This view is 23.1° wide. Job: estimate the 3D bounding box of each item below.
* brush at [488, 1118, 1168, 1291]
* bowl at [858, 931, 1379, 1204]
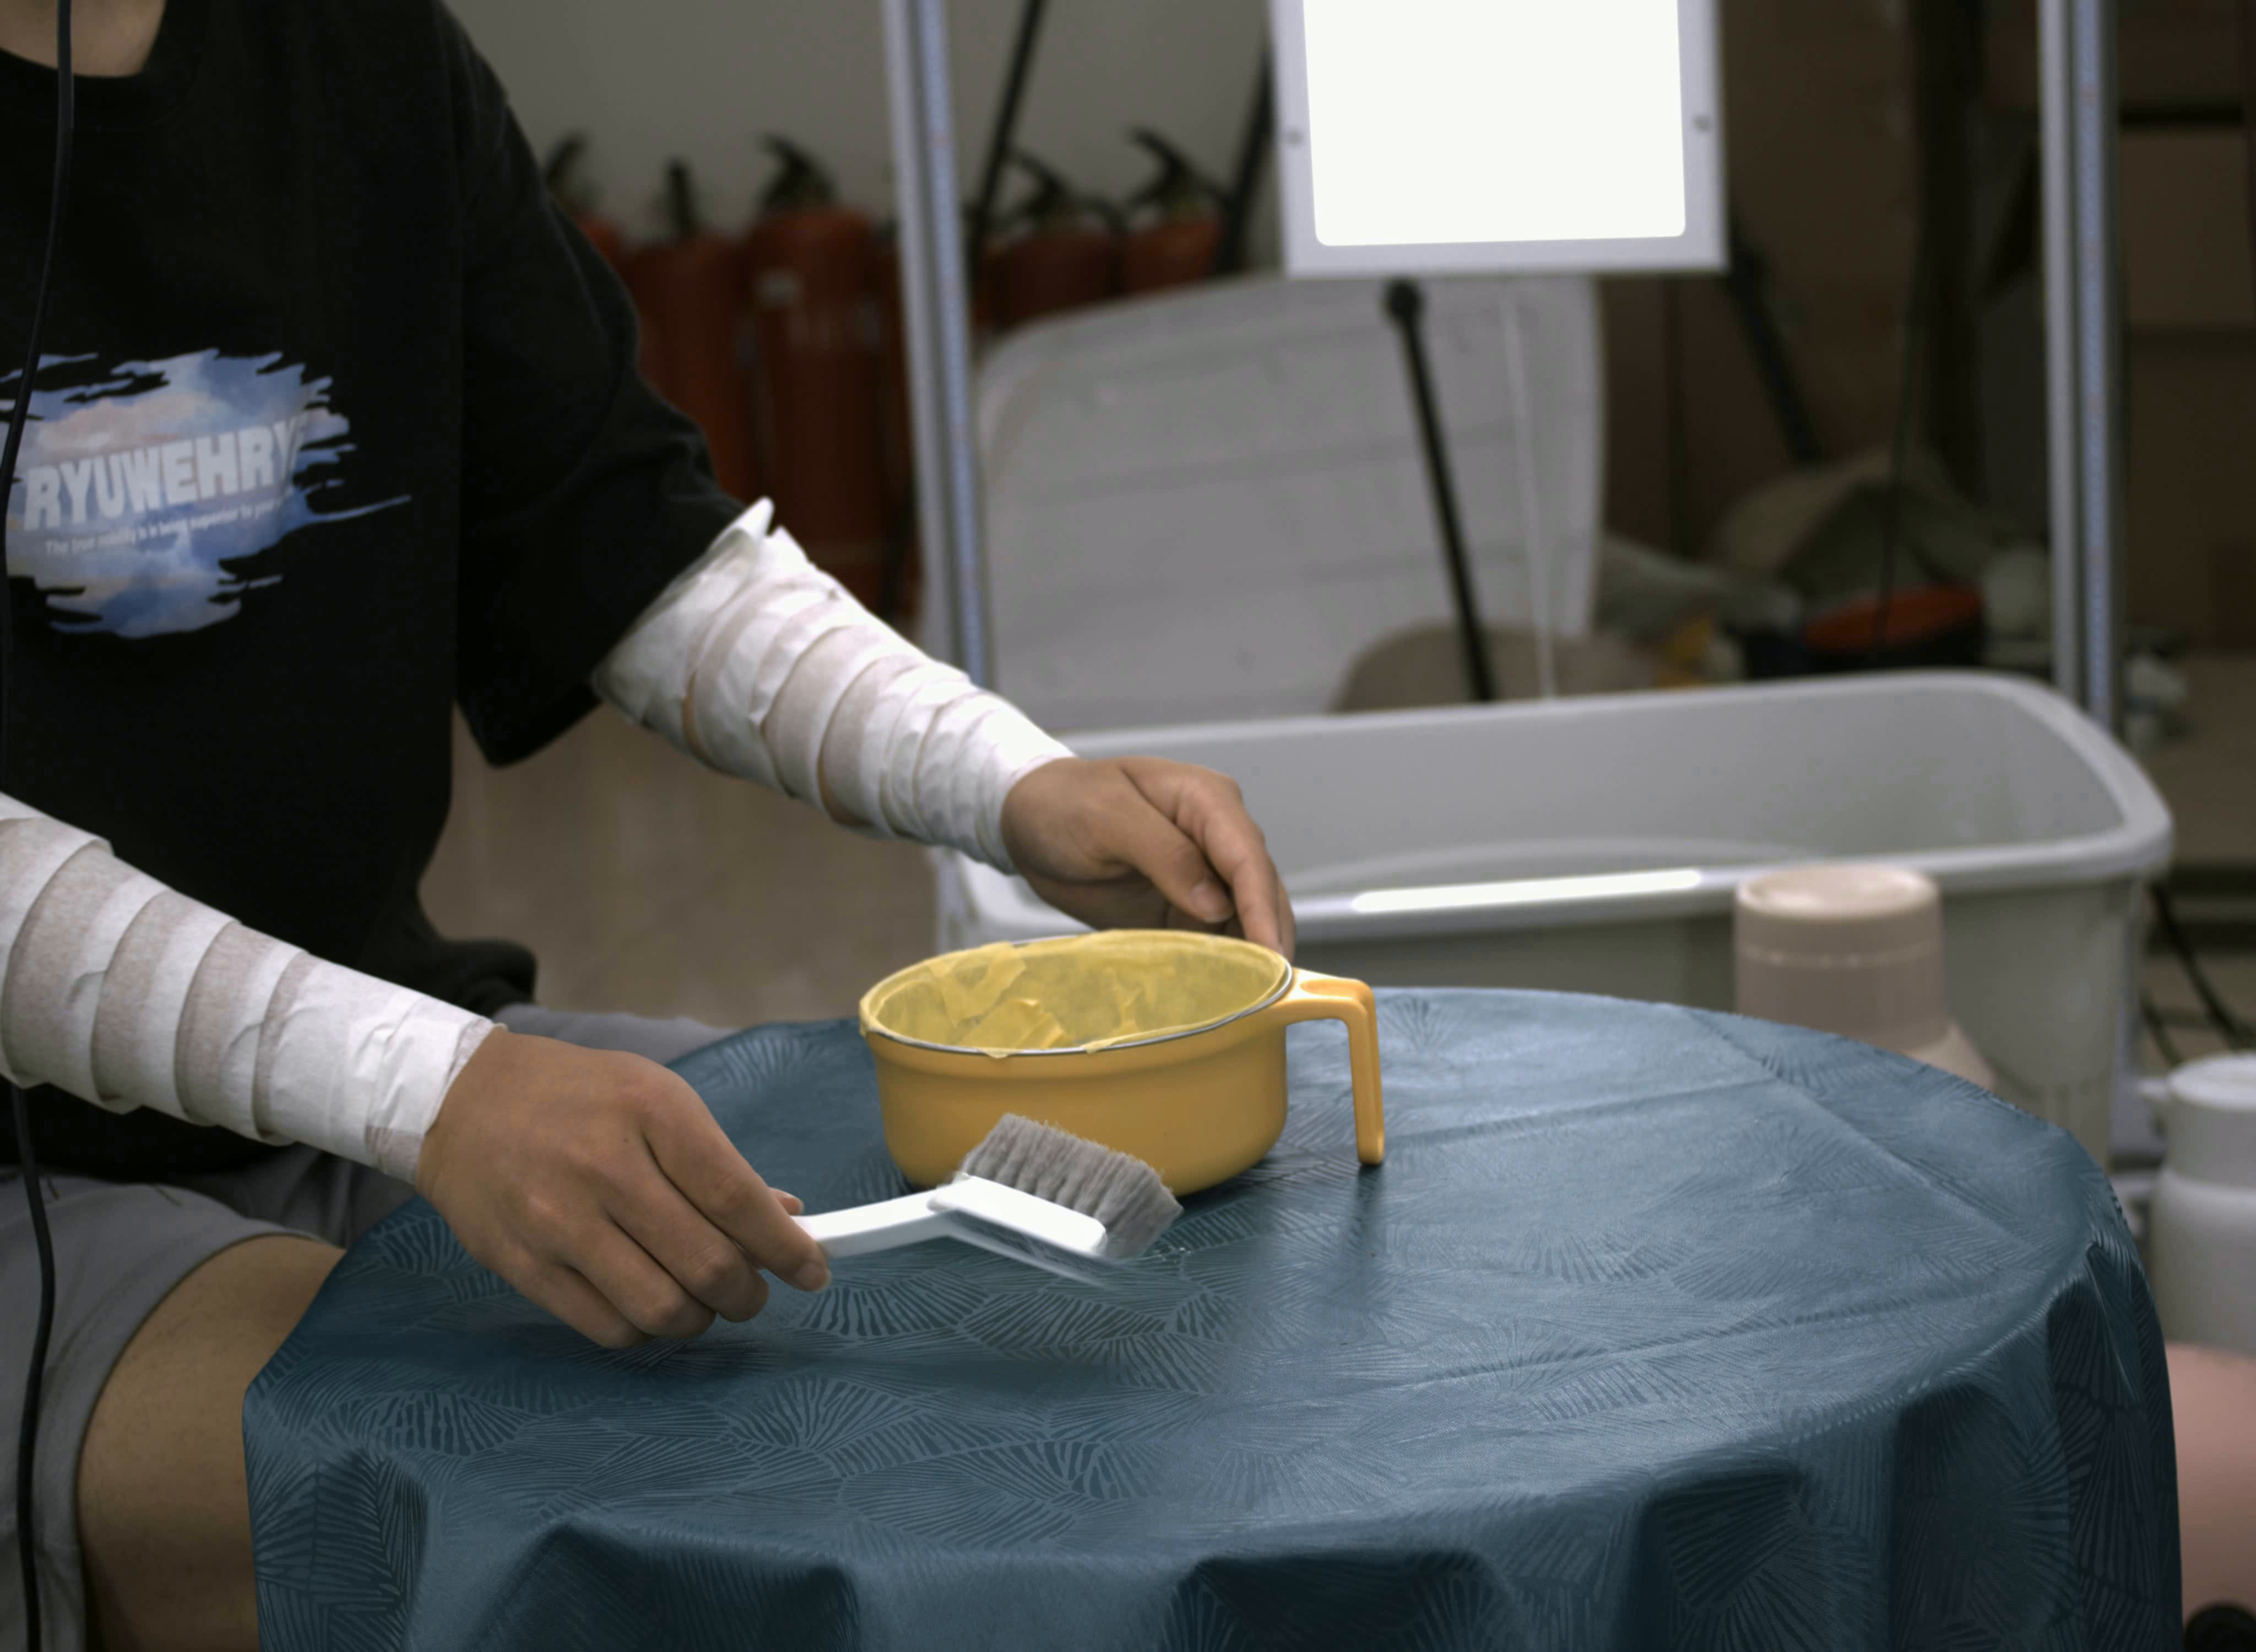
[{"bbox_3d":[-0.099,0.122,1.771,0.248,0.050,0.034,-3,-31,31],"label":"brush"},{"bbox_3d":[-0.003,0.087,1.916,0.180,0.074,0.152,-3,10,7],"label":"bowl"}]
